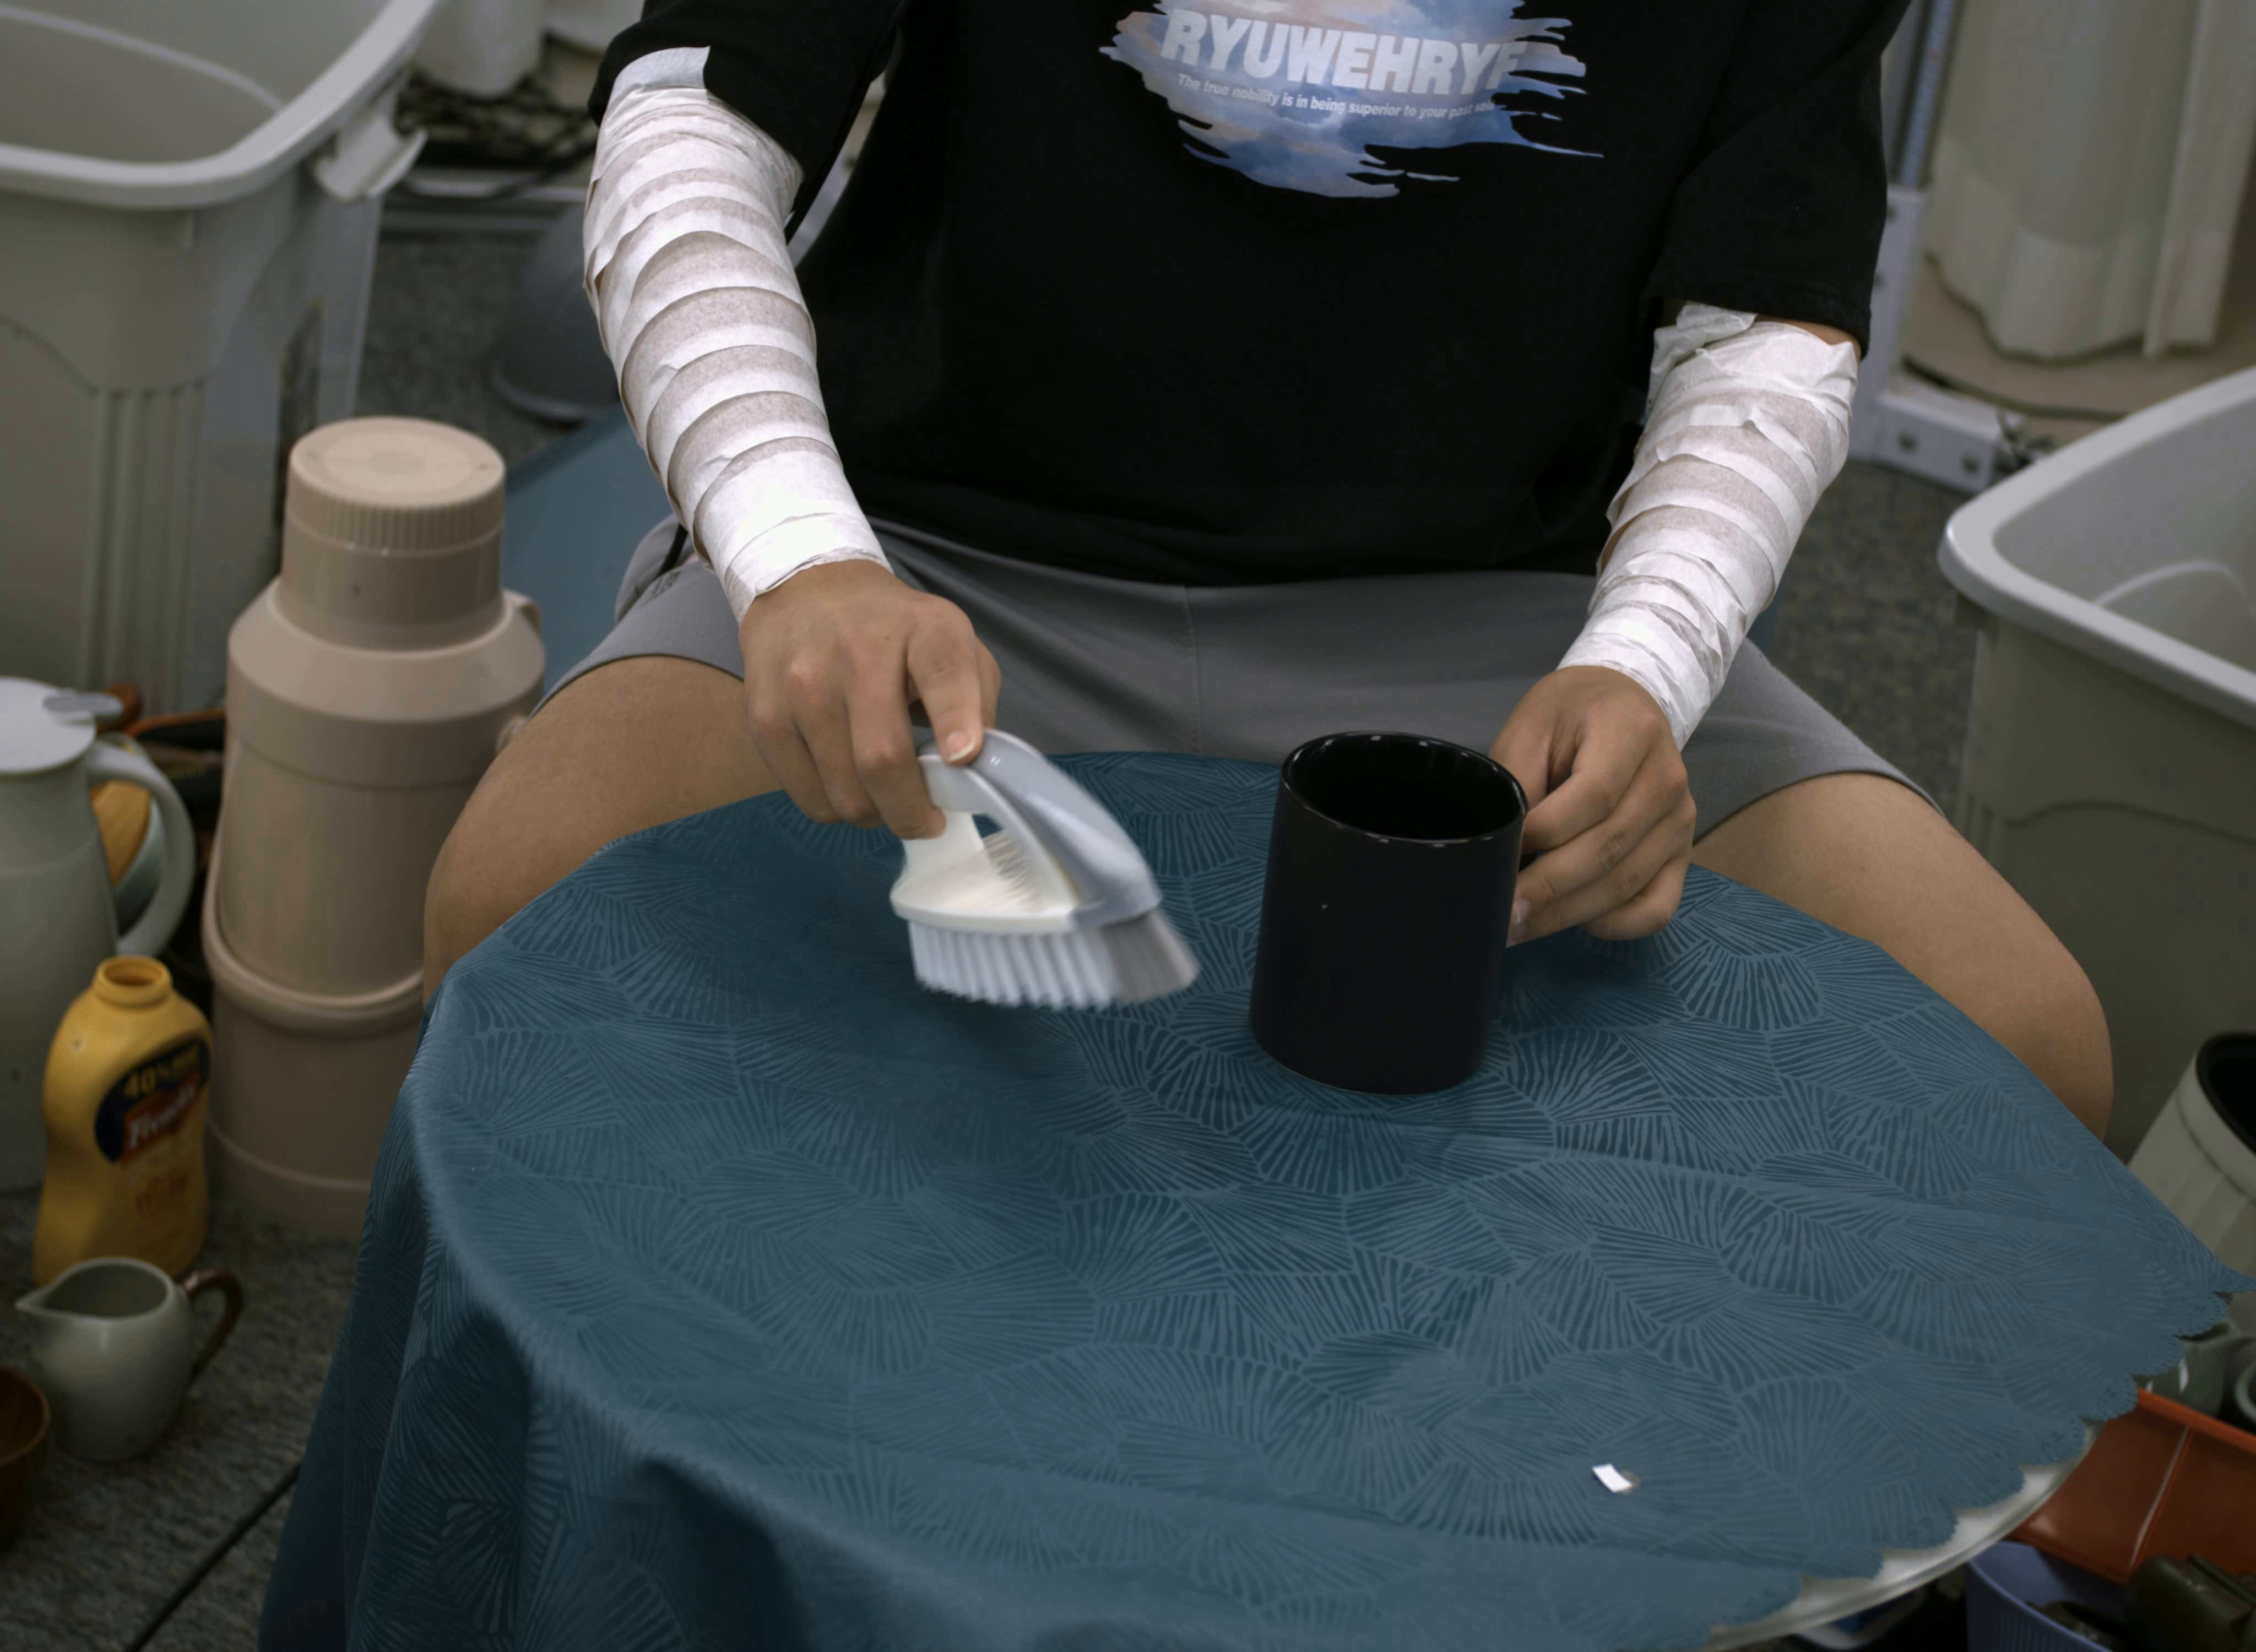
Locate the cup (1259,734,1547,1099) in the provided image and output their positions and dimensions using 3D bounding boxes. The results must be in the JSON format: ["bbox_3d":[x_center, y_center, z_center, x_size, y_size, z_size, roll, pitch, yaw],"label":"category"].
[{"bbox_3d":[0.105,0.028,1.906,0.089,0.105,0.123,24,30,39],"label":"cup"}]

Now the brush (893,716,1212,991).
[{"bbox_3d":[-0.030,0.006,1.828,0.061,0.094,0.176,-34,19,-19],"label":"brush"}]
